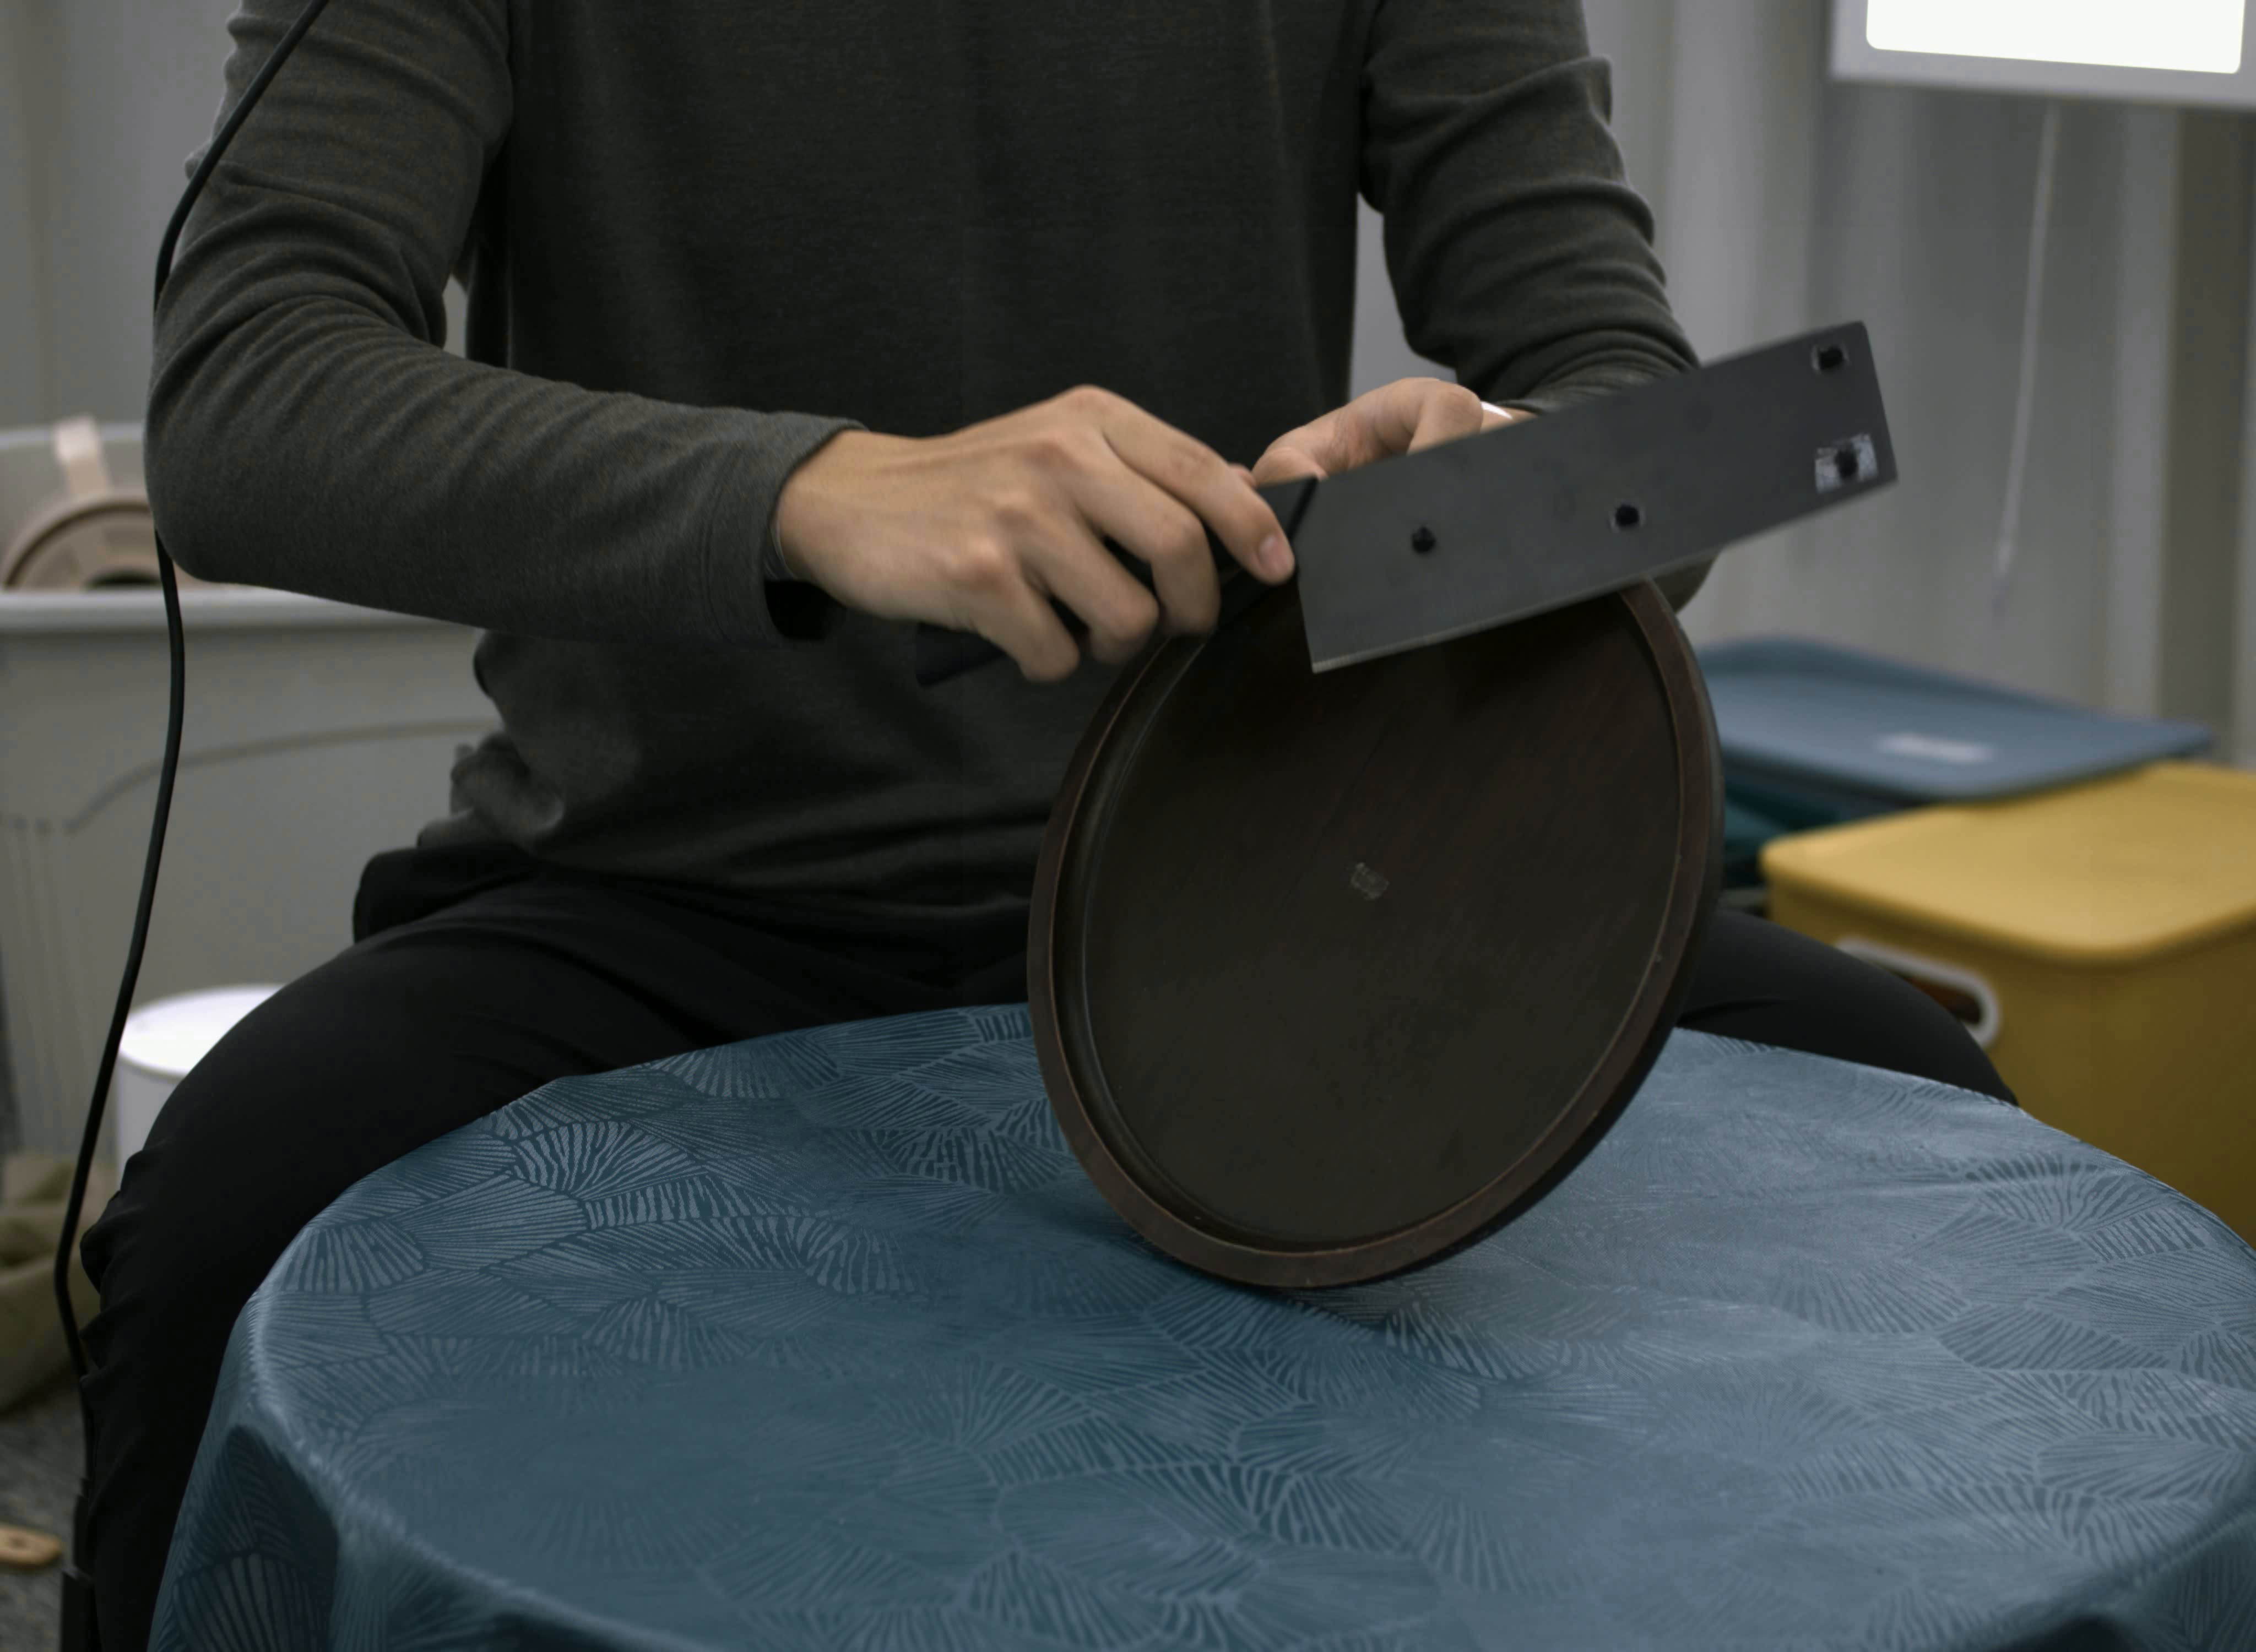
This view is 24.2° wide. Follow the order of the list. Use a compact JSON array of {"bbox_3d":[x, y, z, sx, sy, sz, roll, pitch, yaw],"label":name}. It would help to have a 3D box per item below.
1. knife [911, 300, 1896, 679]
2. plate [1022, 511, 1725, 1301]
[{"bbox_3d":[0.077,-0.089,1.551,0.300,0.021,0.080,-13,58,15],"label":"knife"},{"bbox_3d":[0.071,0.018,1.562,0.251,0.255,0.029,16,-4,42],"label":"plate"}]
